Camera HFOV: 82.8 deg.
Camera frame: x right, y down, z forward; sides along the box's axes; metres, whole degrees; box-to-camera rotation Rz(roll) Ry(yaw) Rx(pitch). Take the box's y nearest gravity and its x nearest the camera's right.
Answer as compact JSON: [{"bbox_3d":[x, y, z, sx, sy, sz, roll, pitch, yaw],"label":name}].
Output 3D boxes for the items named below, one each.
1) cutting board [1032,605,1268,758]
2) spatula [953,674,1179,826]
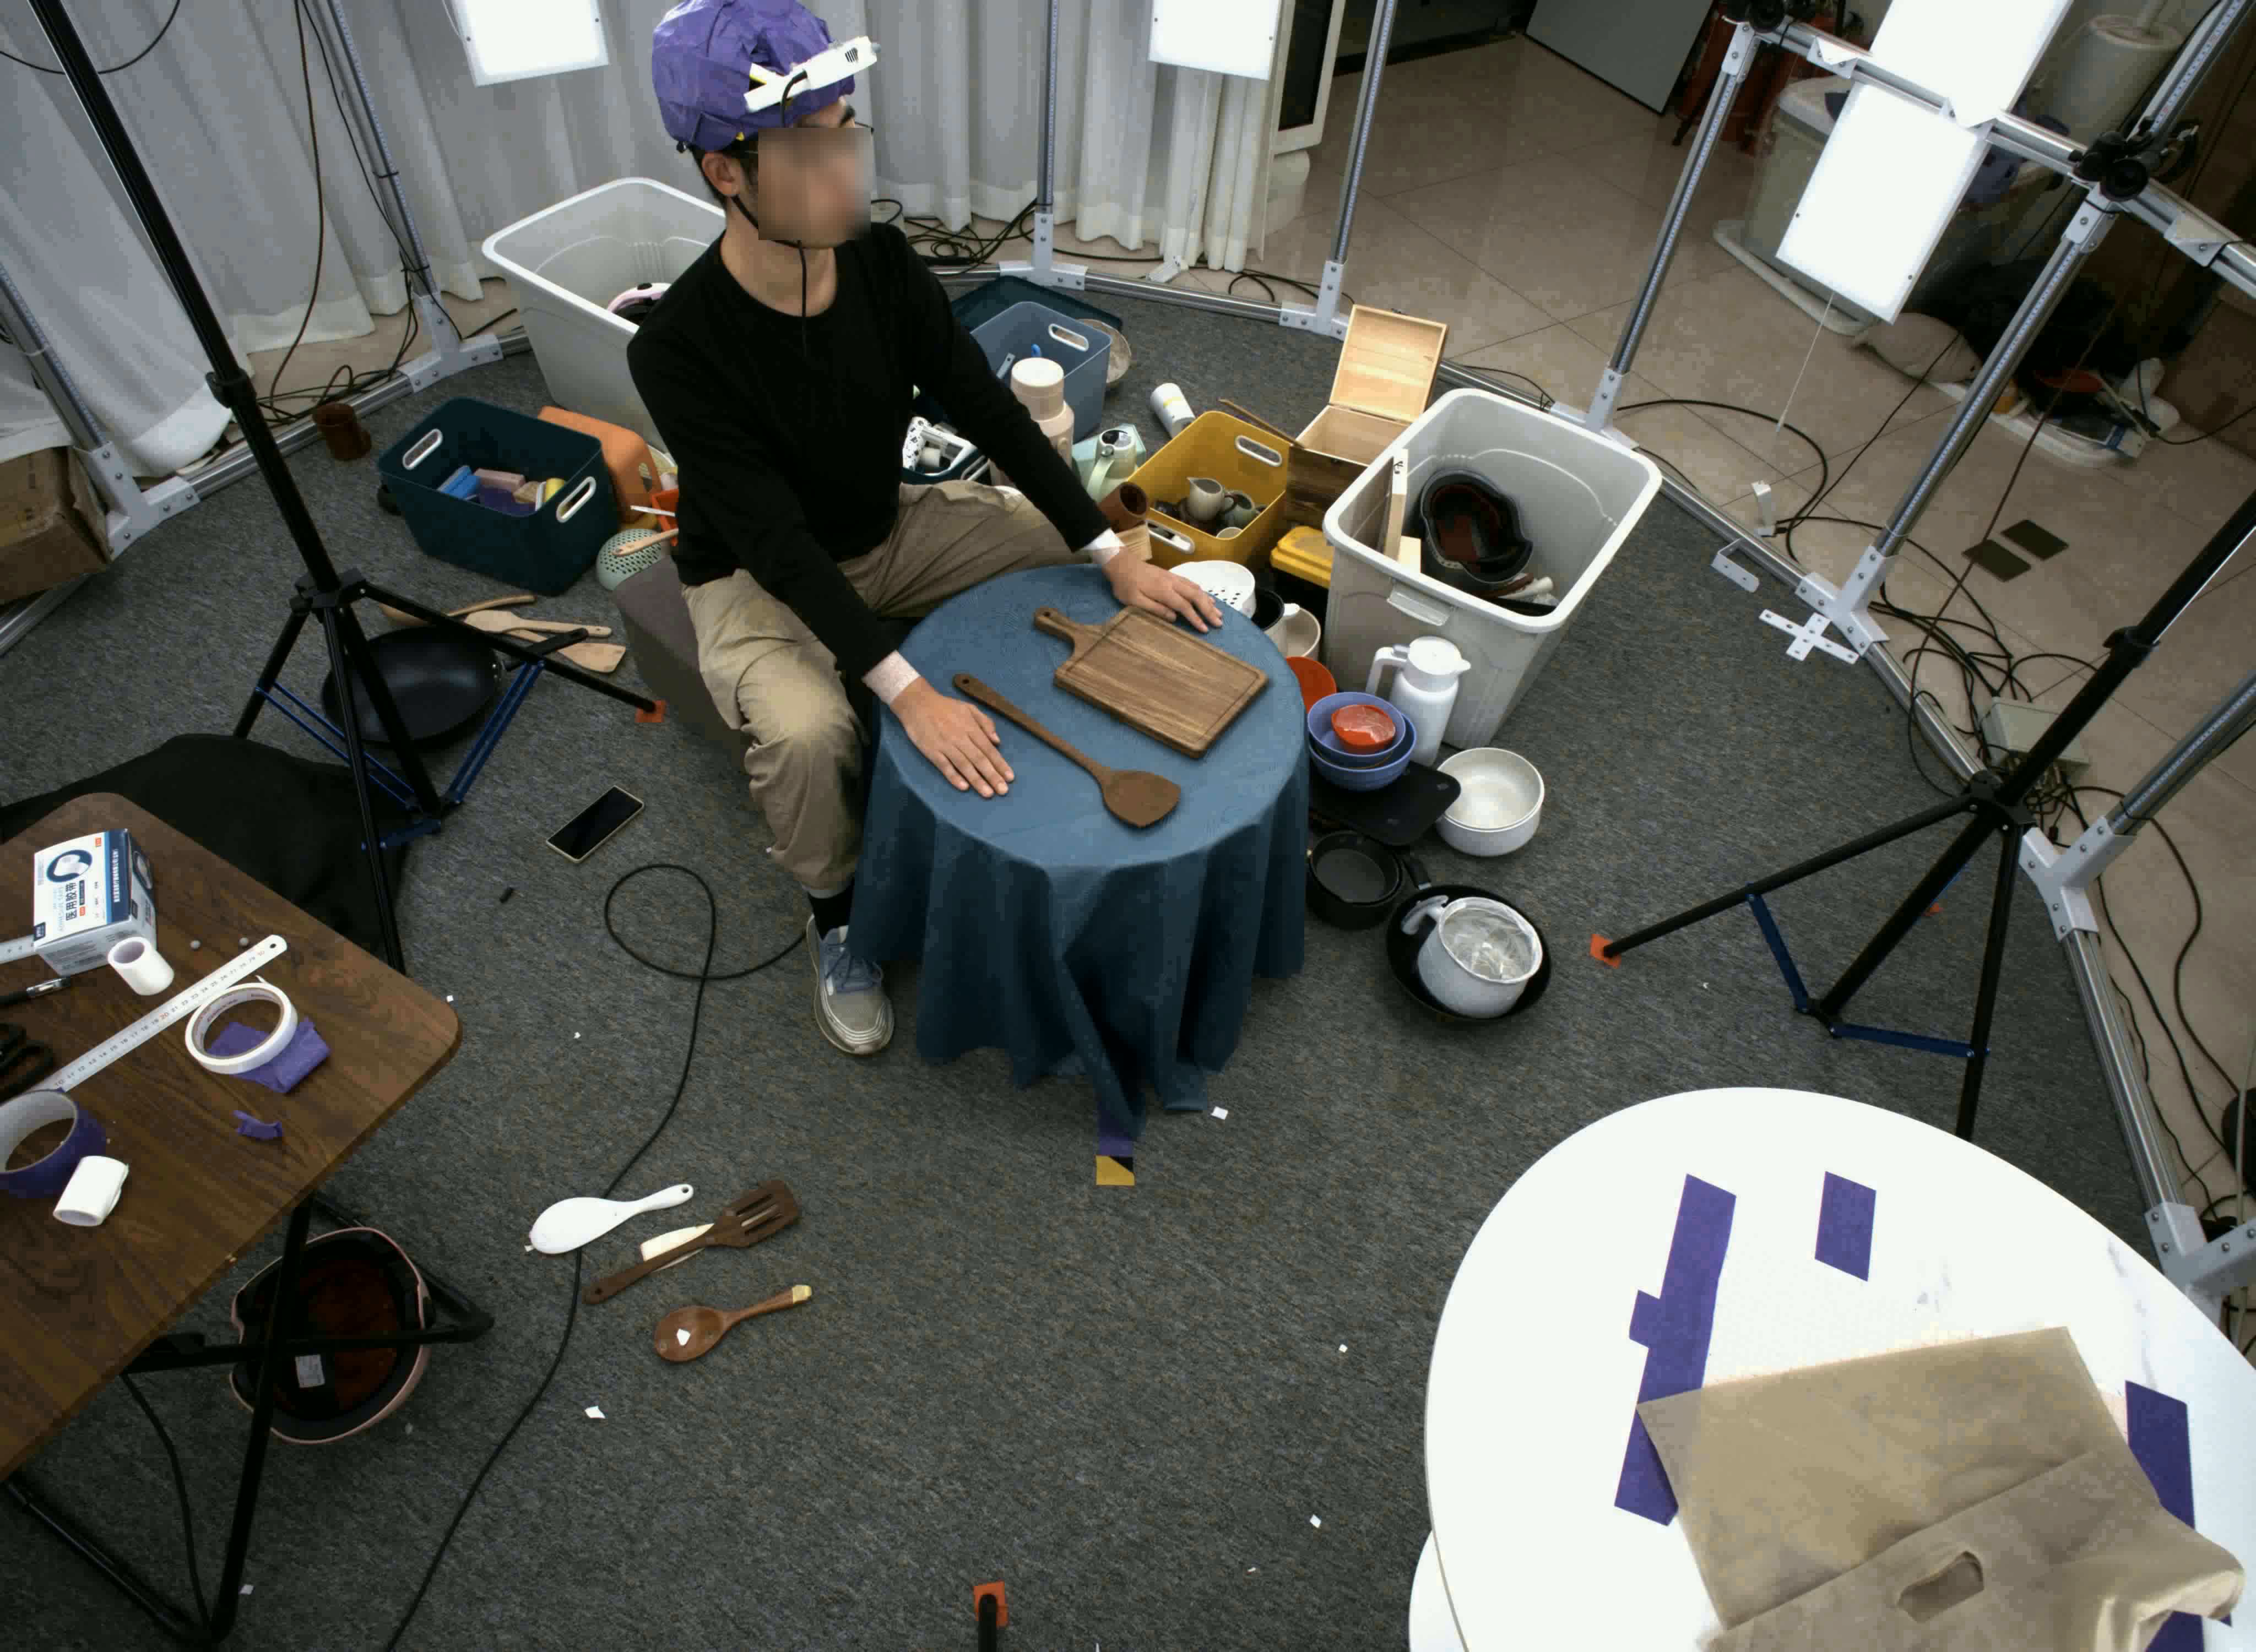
[{"bbox_3d":[0.008,-0.237,1.862,0.356,0.022,0.204,29,53,20],"label":"cutting board"},{"bbox_3d":[-0.098,-0.115,1.753,0.391,0.015,0.097,34,55,23],"label":"spatula"}]
